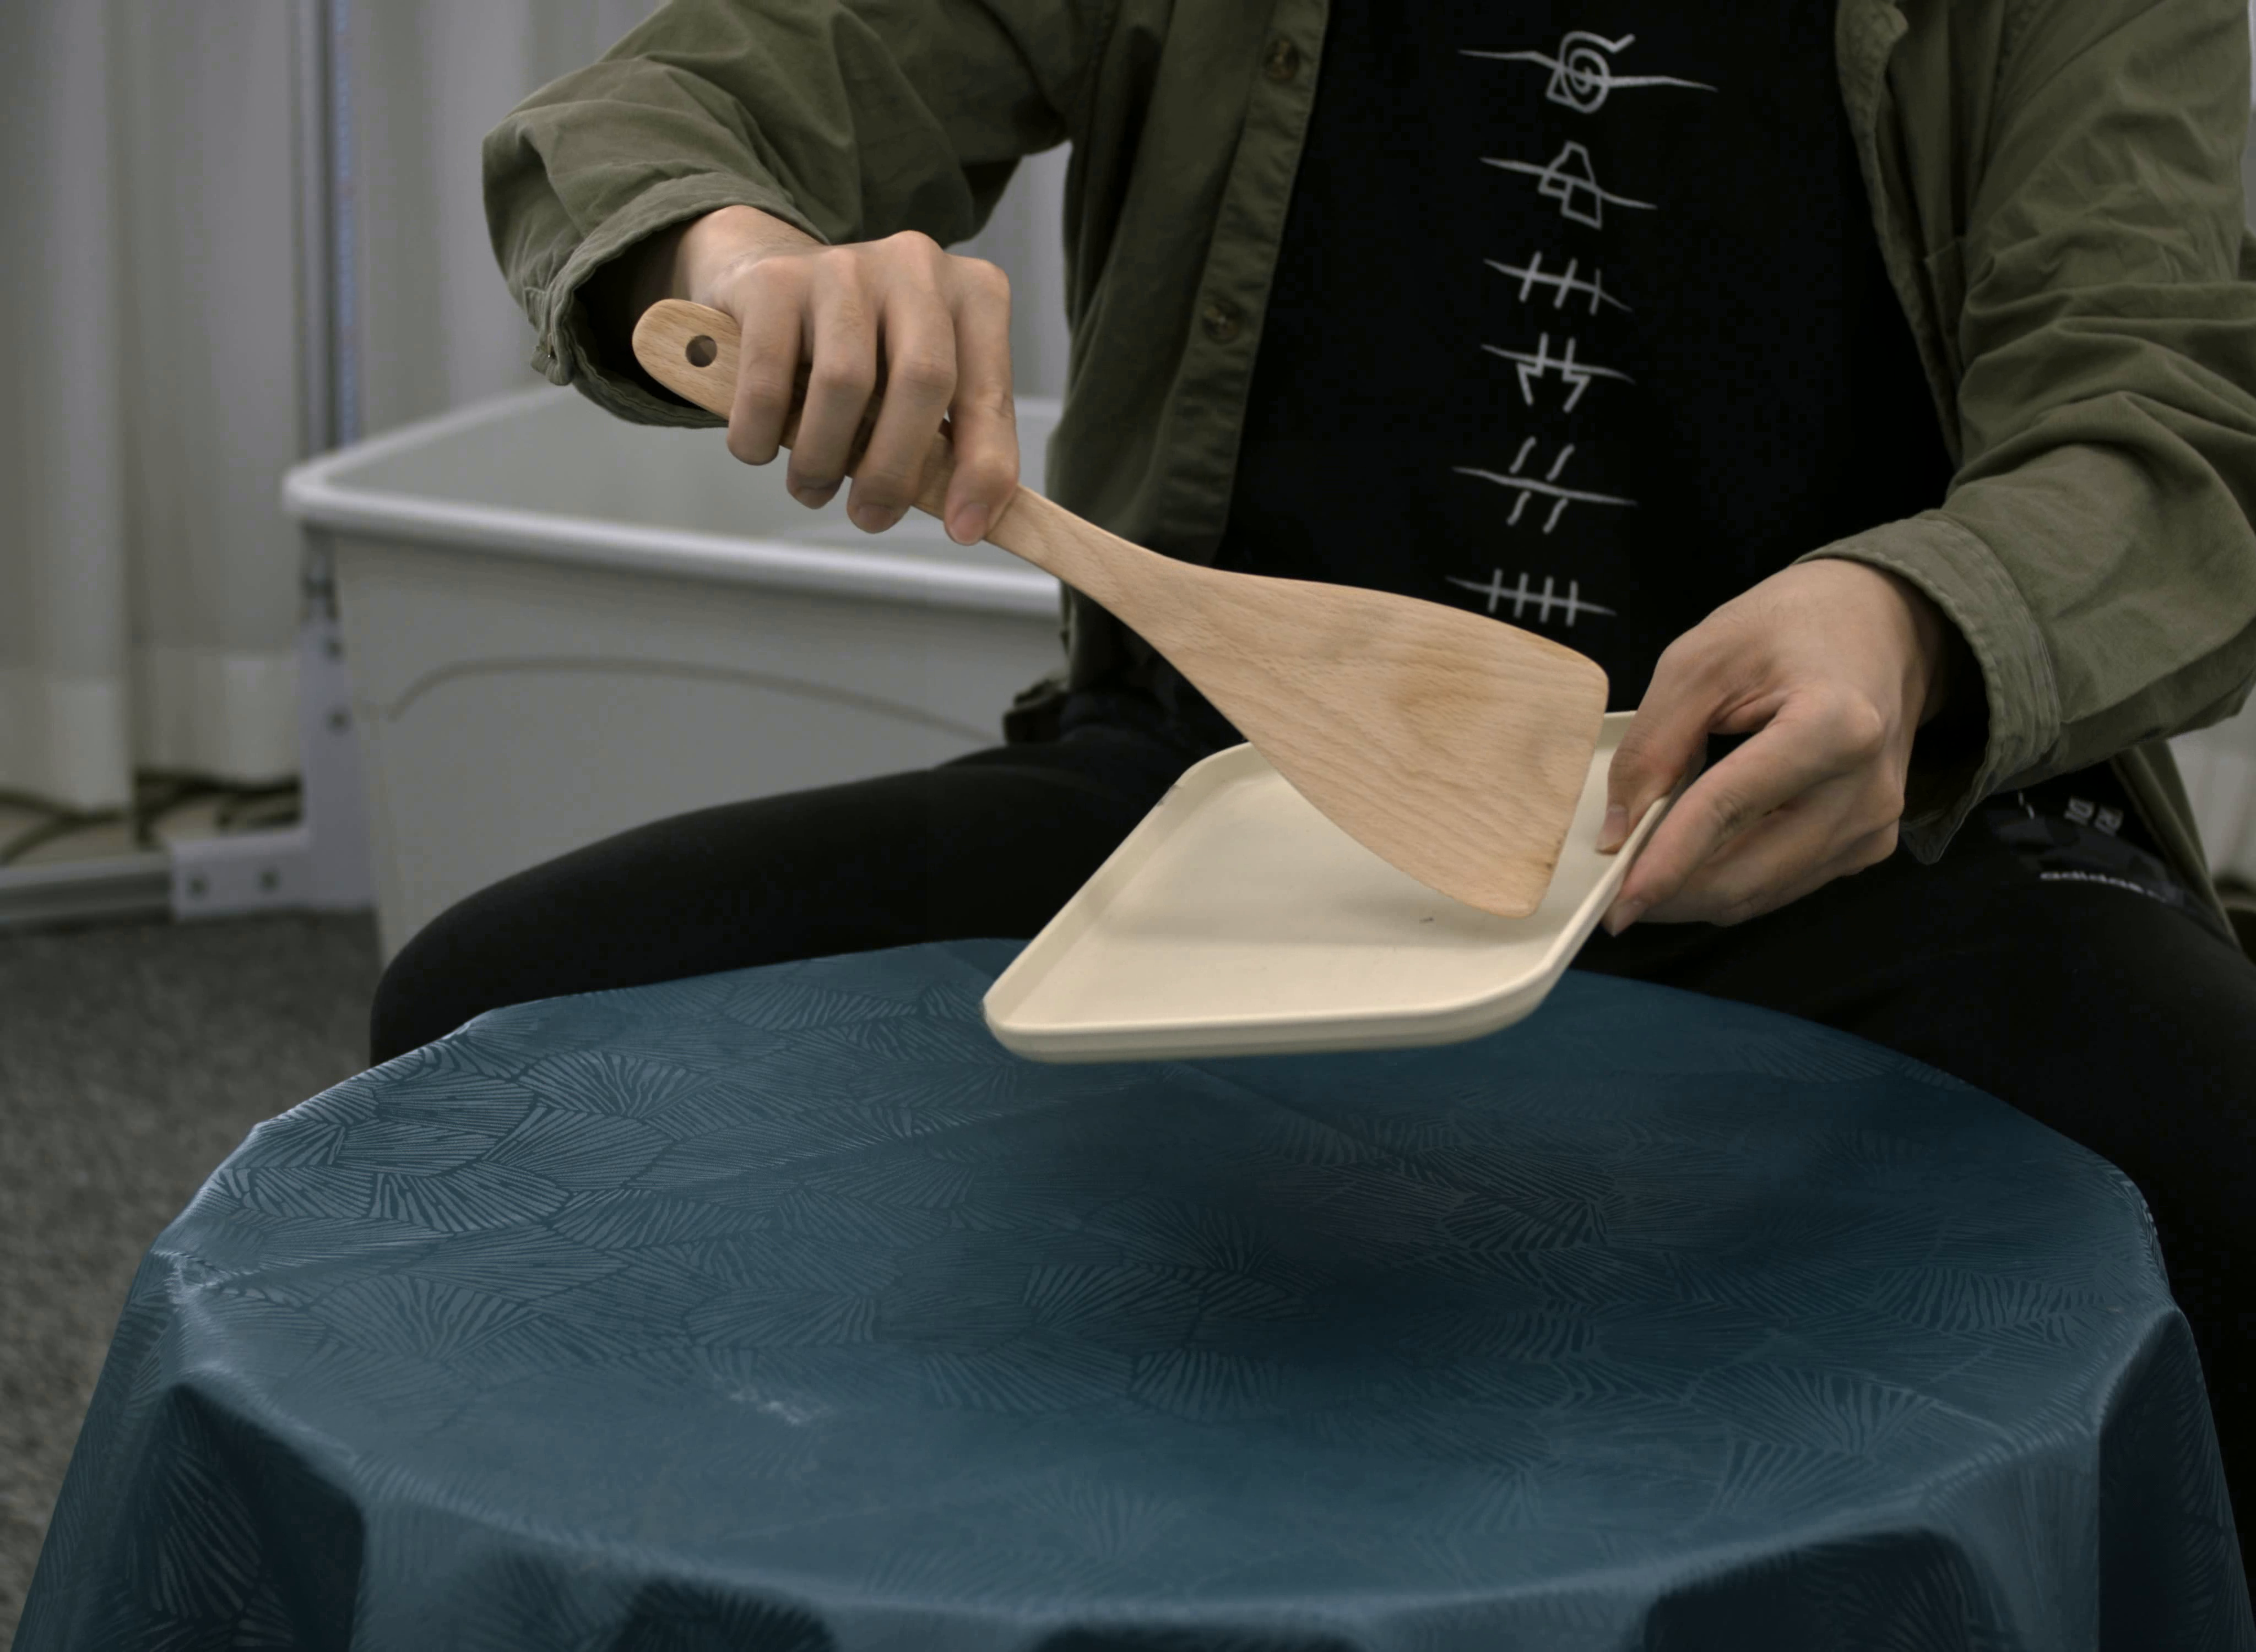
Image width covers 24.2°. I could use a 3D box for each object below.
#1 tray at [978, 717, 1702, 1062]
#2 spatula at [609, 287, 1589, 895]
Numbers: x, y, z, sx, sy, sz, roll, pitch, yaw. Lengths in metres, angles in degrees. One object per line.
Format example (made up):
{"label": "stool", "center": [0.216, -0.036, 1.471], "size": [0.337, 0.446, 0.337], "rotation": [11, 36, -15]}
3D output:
{"label": "tray", "center": [0.067, 0.018, 1.545], "size": [0.170, 0.017, 0.239], "rotation": [-3, 20, 21]}
{"label": "spatula", "center": [-0.013, -0.083, 1.534], "size": [0.325, 0.080, 0.016], "rotation": [27, -2, 13]}
